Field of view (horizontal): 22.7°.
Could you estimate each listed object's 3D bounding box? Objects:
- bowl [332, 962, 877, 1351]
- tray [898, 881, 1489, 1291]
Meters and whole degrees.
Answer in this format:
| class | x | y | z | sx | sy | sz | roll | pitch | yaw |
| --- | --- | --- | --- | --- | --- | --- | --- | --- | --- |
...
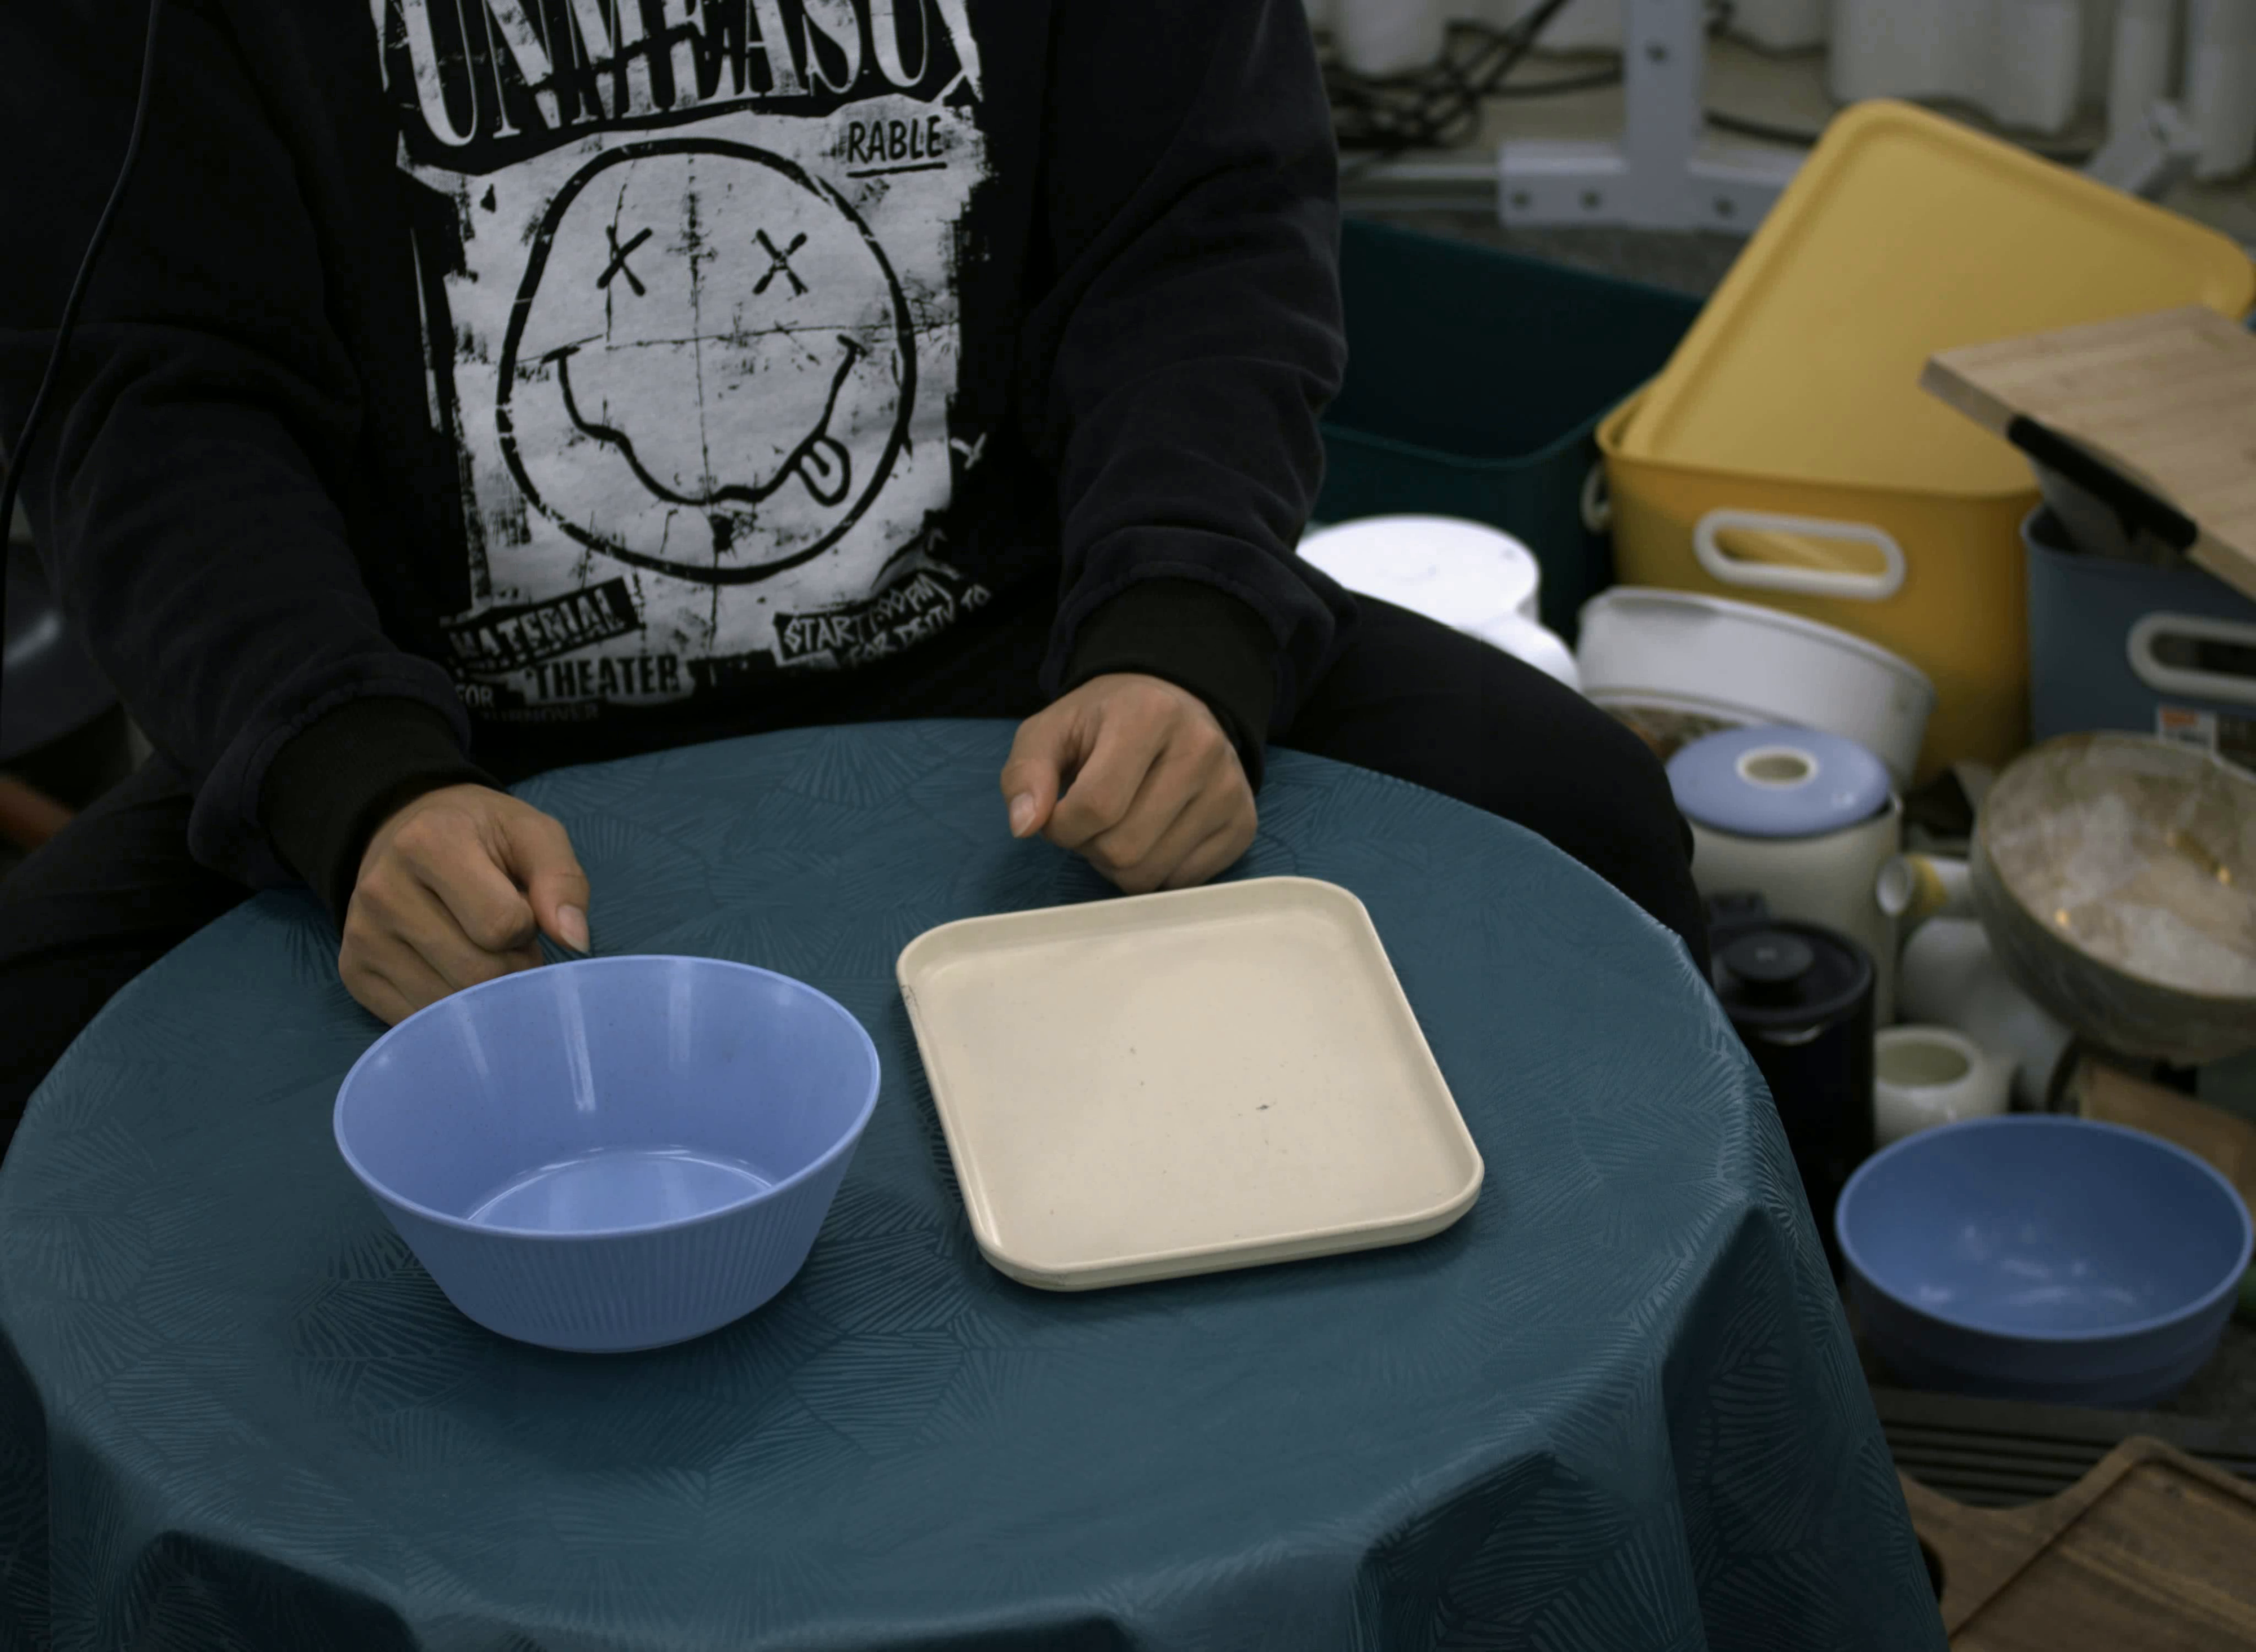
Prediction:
| class | x | y | z | sx | sy | sz | roll | pitch | yaw |
| --- | --- | --- | --- | --- | --- | --- | --- | --- | --- |
| bowl | -0.167 | 0.113 | 1.818 | 0.175 | 0.069 | 0.179 | -2 | 27 | 1 |
| tray | 0.019 | 0.087 | 1.907 | 0.171 | 0.017 | 0.242 | -7 | 27 | -8 |
